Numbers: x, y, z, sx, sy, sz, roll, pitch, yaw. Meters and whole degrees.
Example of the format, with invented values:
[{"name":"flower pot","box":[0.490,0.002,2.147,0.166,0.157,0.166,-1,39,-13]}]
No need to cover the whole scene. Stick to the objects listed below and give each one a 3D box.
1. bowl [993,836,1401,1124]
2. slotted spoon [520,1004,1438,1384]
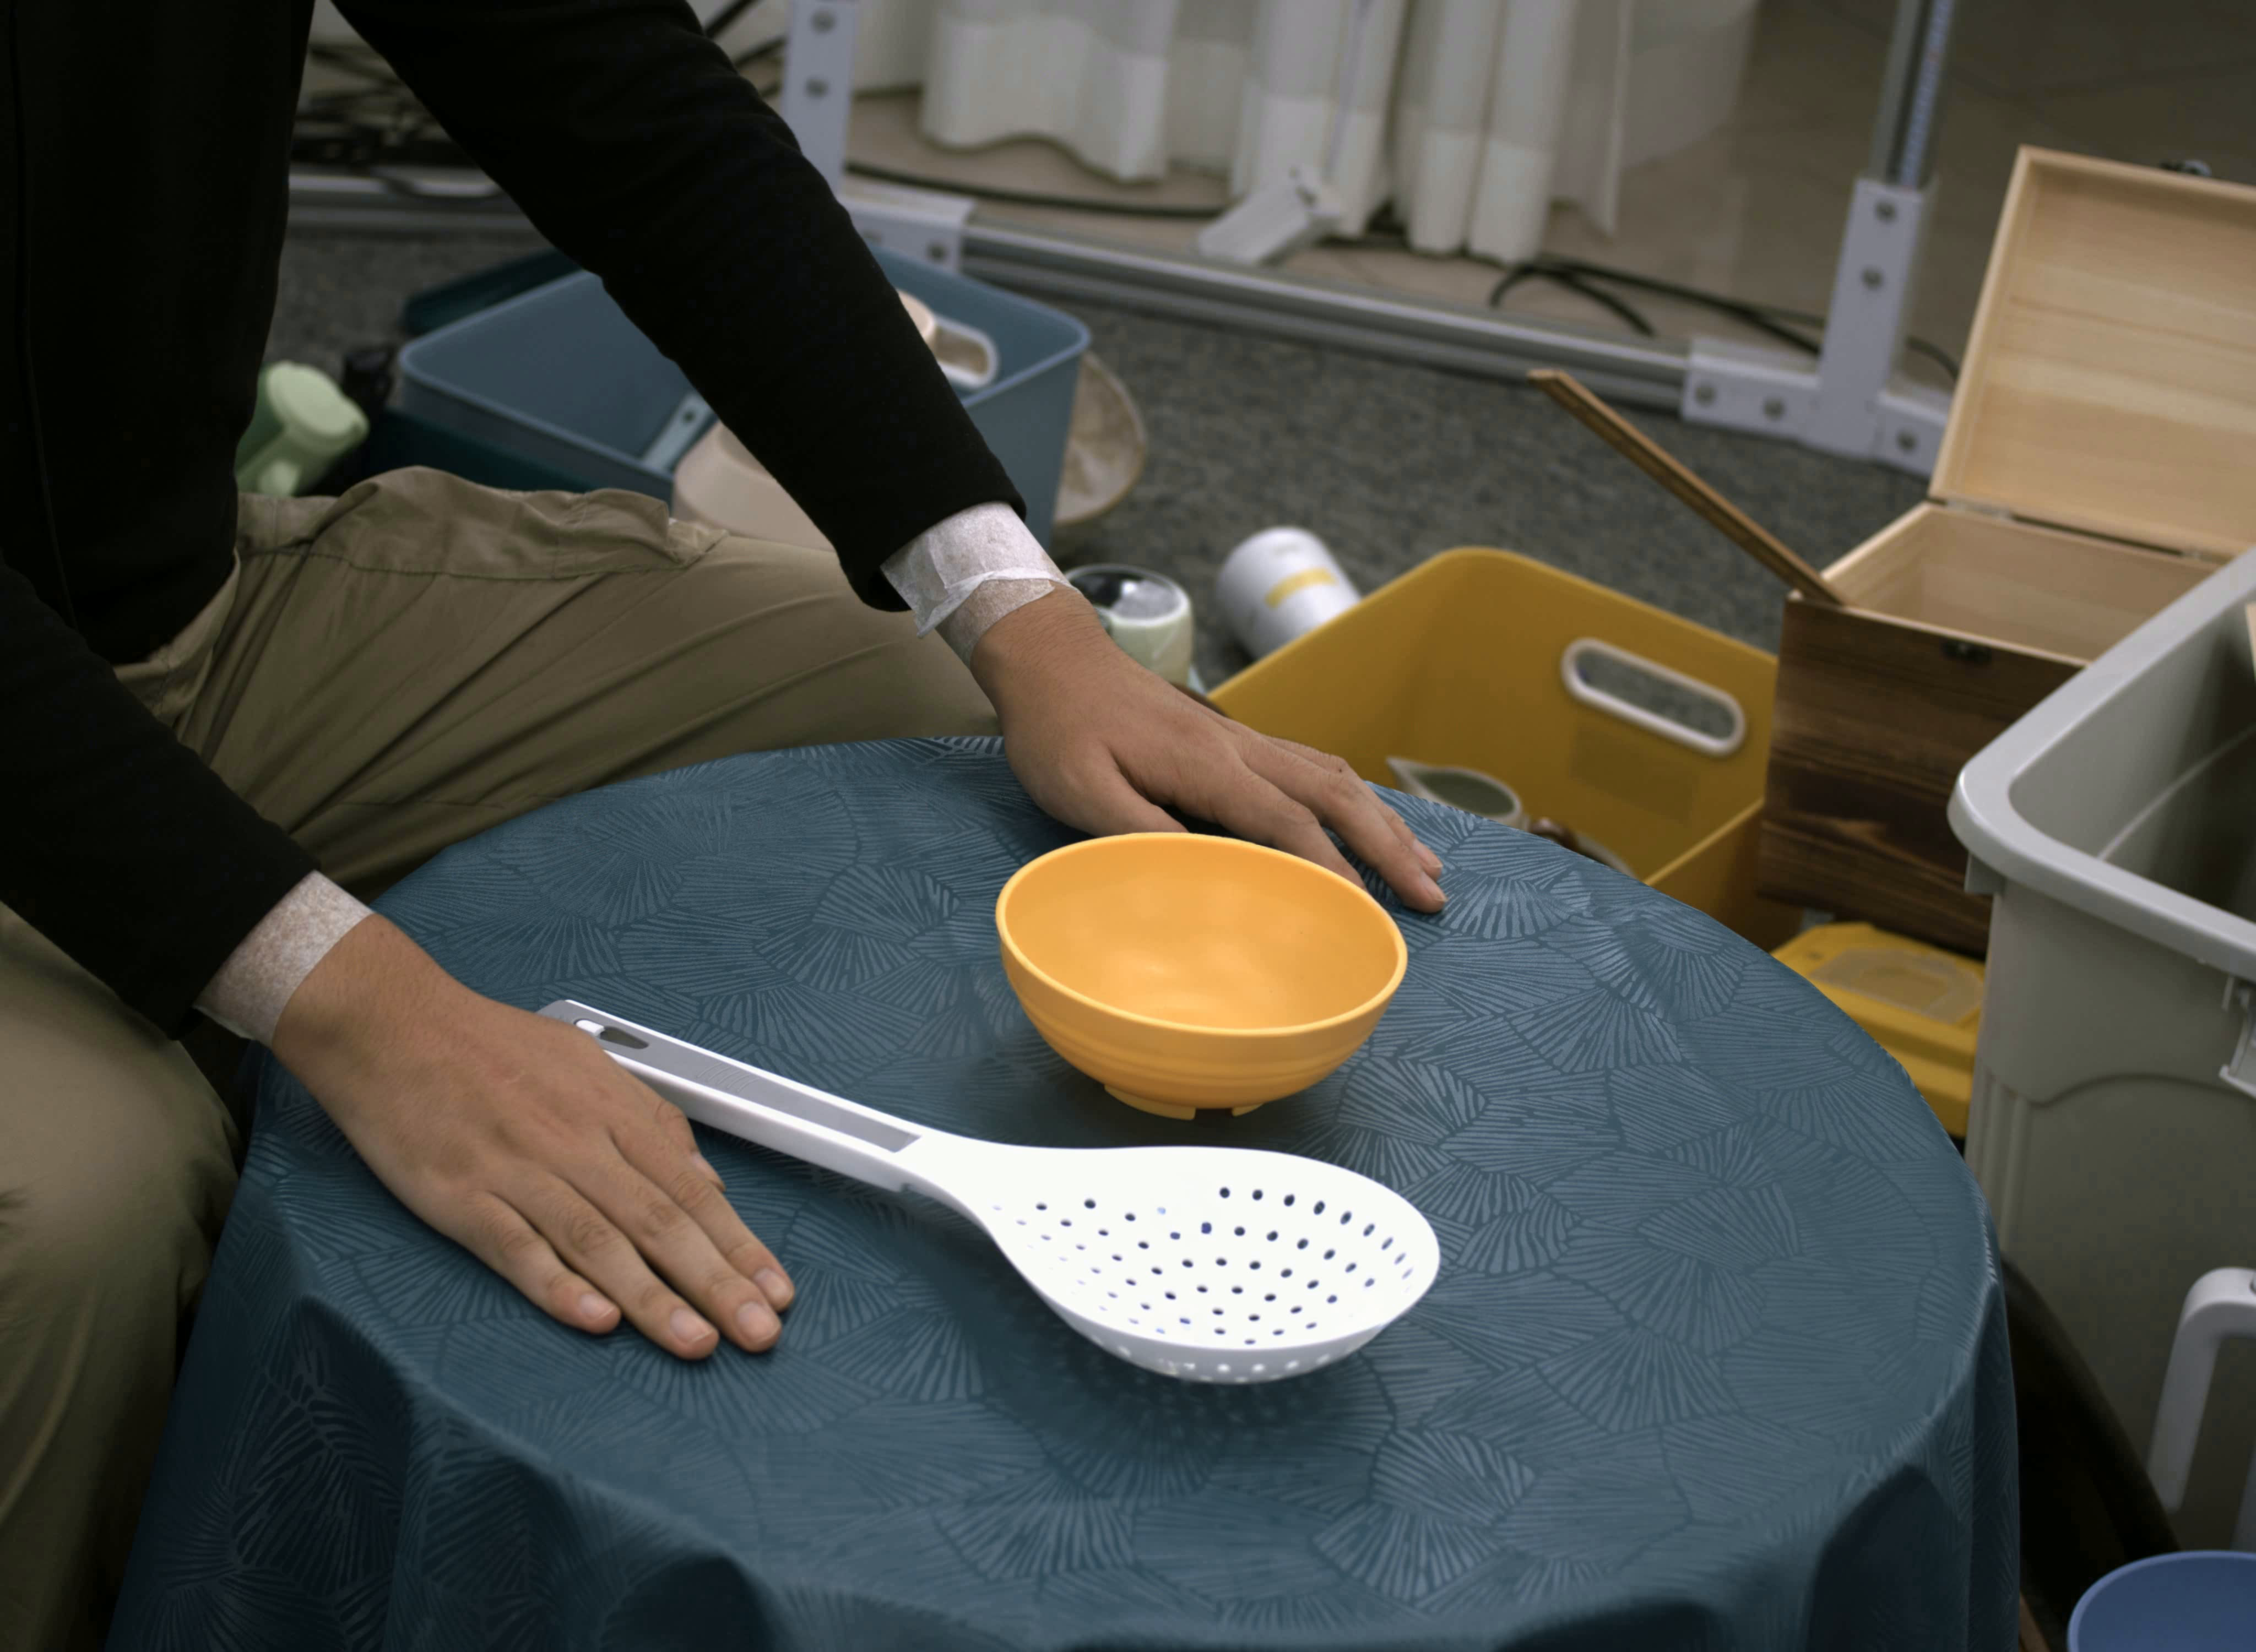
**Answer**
[{"name":"bowl","box":[0.020,0.063,1.865,0.145,0.060,0.146,7,26,-4]},{"name":"slotted spoon","box":[-0.059,0.114,1.757,0.351,0.045,0.135,21,30,28]}]
